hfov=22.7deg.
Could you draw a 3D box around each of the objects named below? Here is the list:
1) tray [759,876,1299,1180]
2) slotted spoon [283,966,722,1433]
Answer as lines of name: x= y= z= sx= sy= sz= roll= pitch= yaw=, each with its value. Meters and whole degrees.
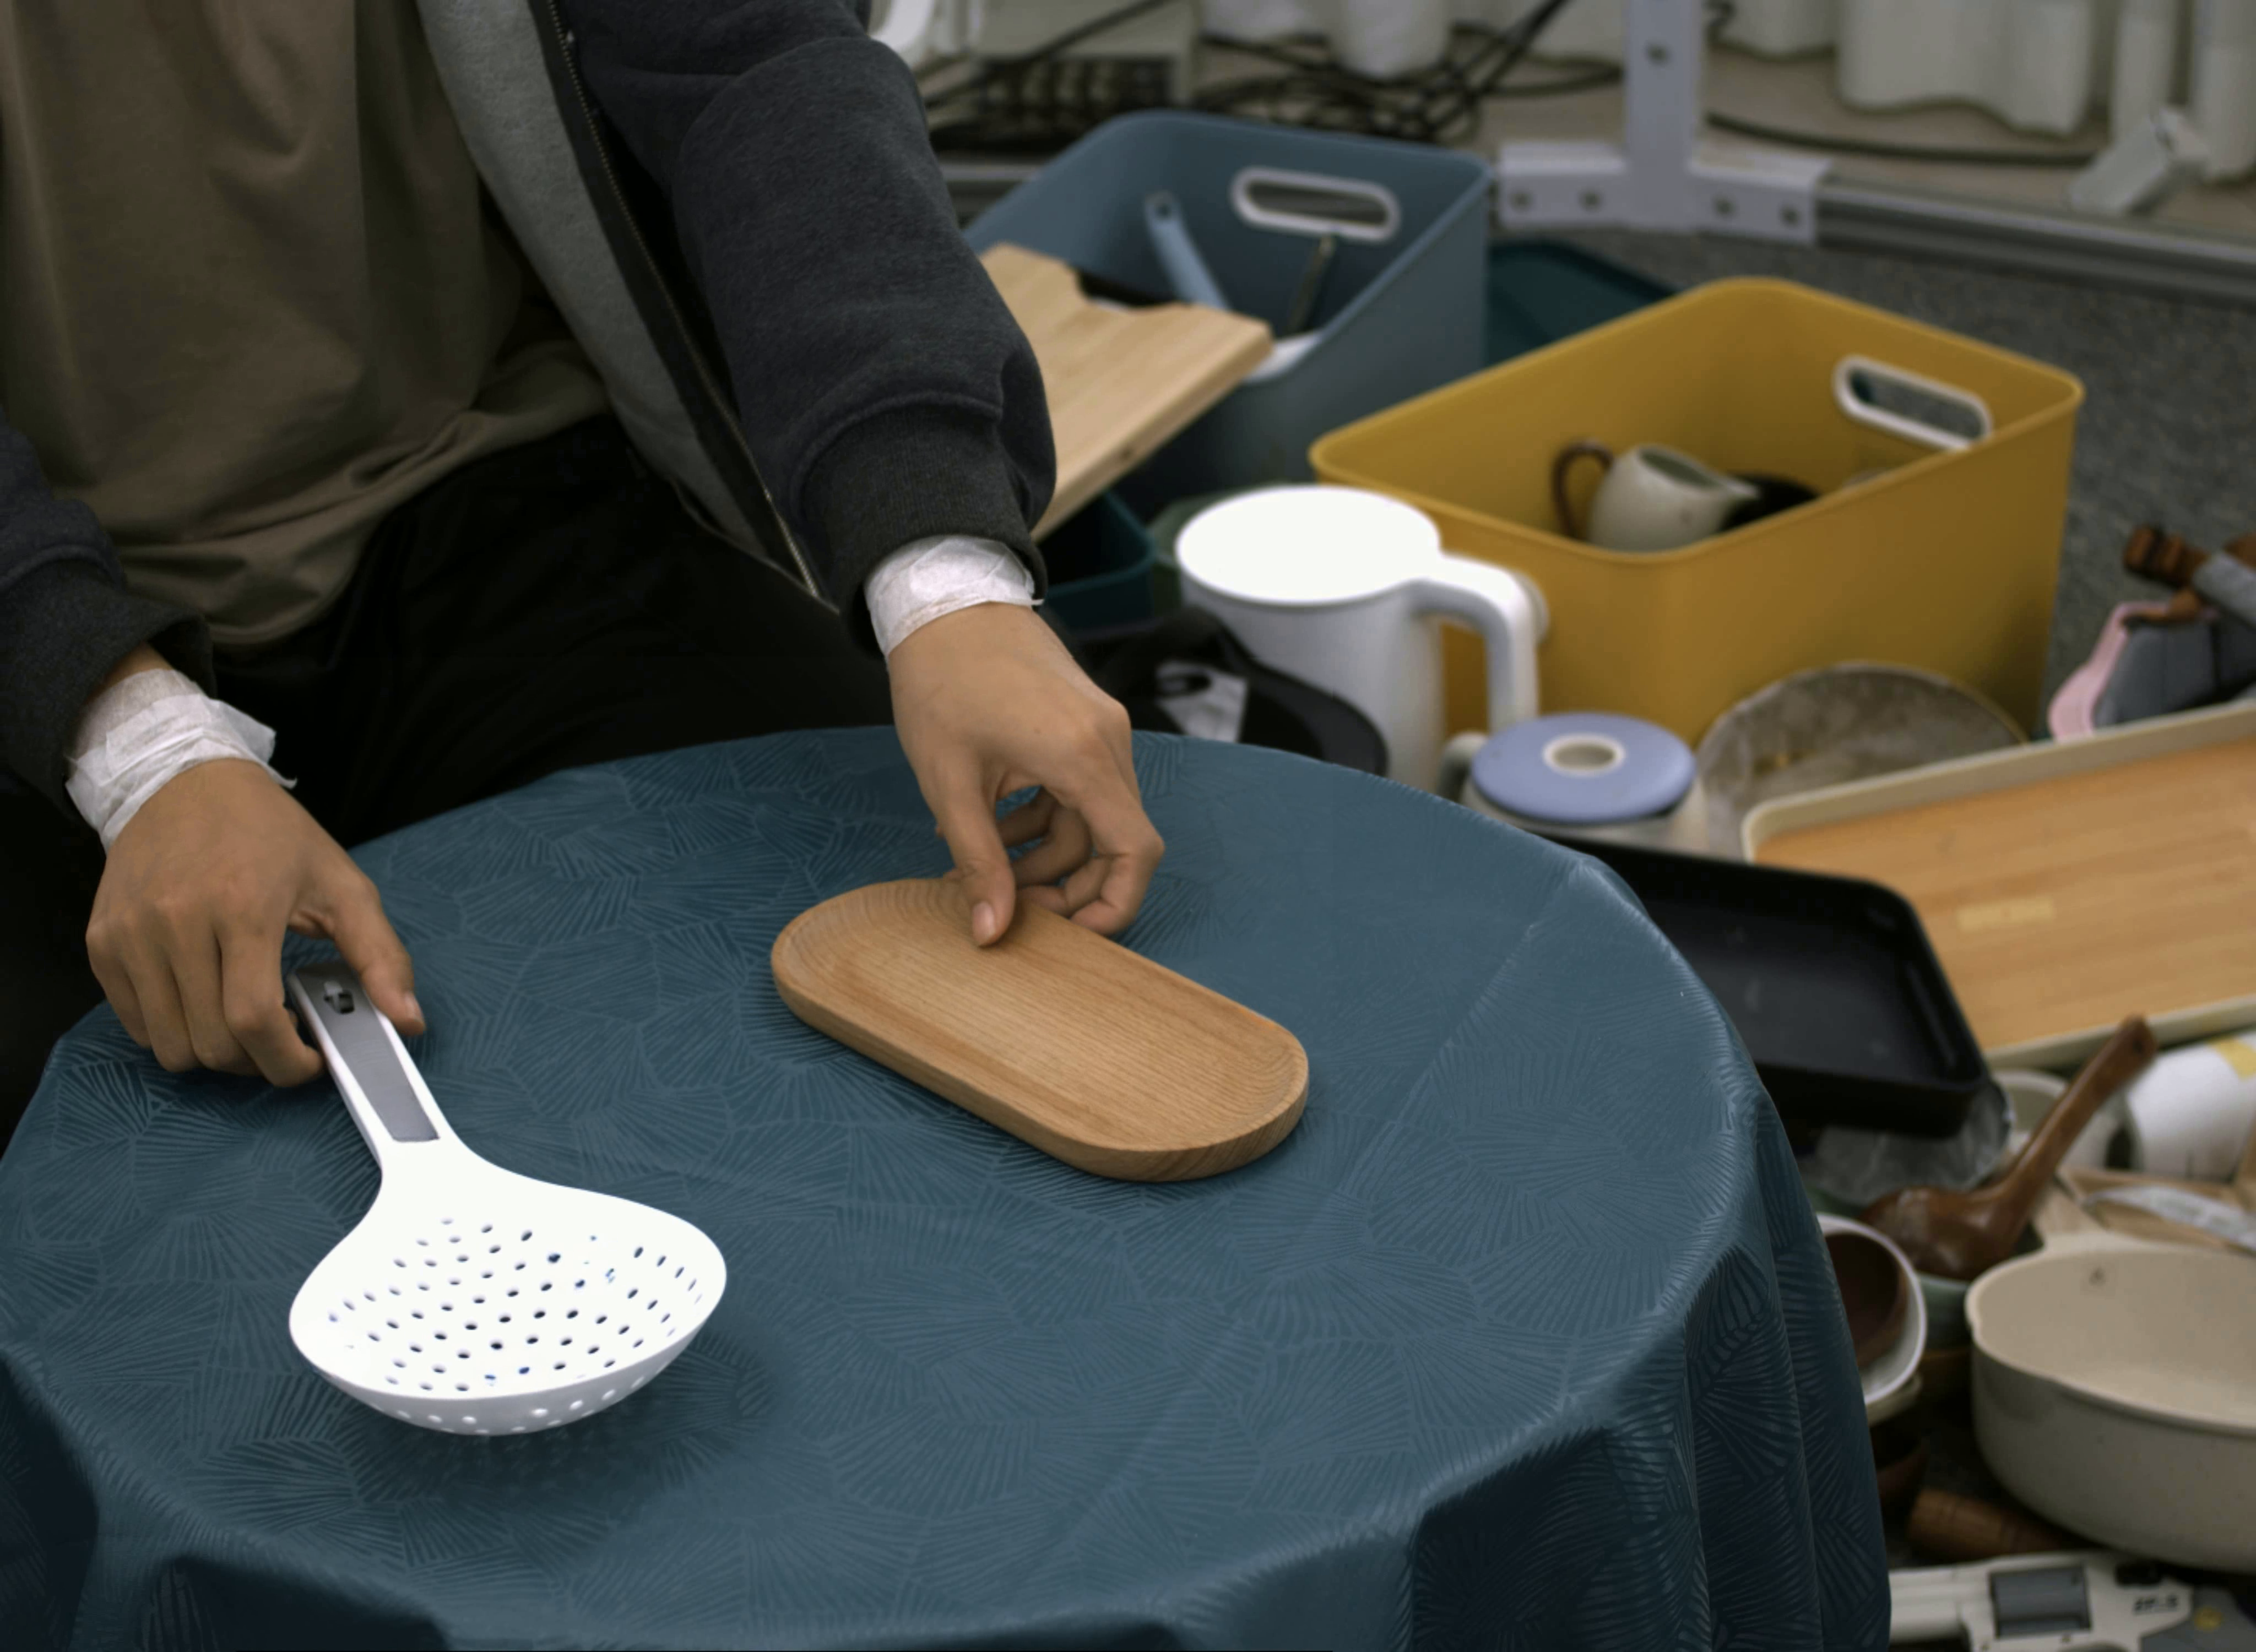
tray: x=-0.036 y=0.069 z=1.950 sx=0.103 sy=0.020 sz=0.231 roll=-24 pitch=33 yaw=-36
slotted spoon: x=-0.231 y=0.116 z=1.846 sx=0.136 sy=0.045 sz=0.352 roll=-10 pitch=27 yaw=-18
